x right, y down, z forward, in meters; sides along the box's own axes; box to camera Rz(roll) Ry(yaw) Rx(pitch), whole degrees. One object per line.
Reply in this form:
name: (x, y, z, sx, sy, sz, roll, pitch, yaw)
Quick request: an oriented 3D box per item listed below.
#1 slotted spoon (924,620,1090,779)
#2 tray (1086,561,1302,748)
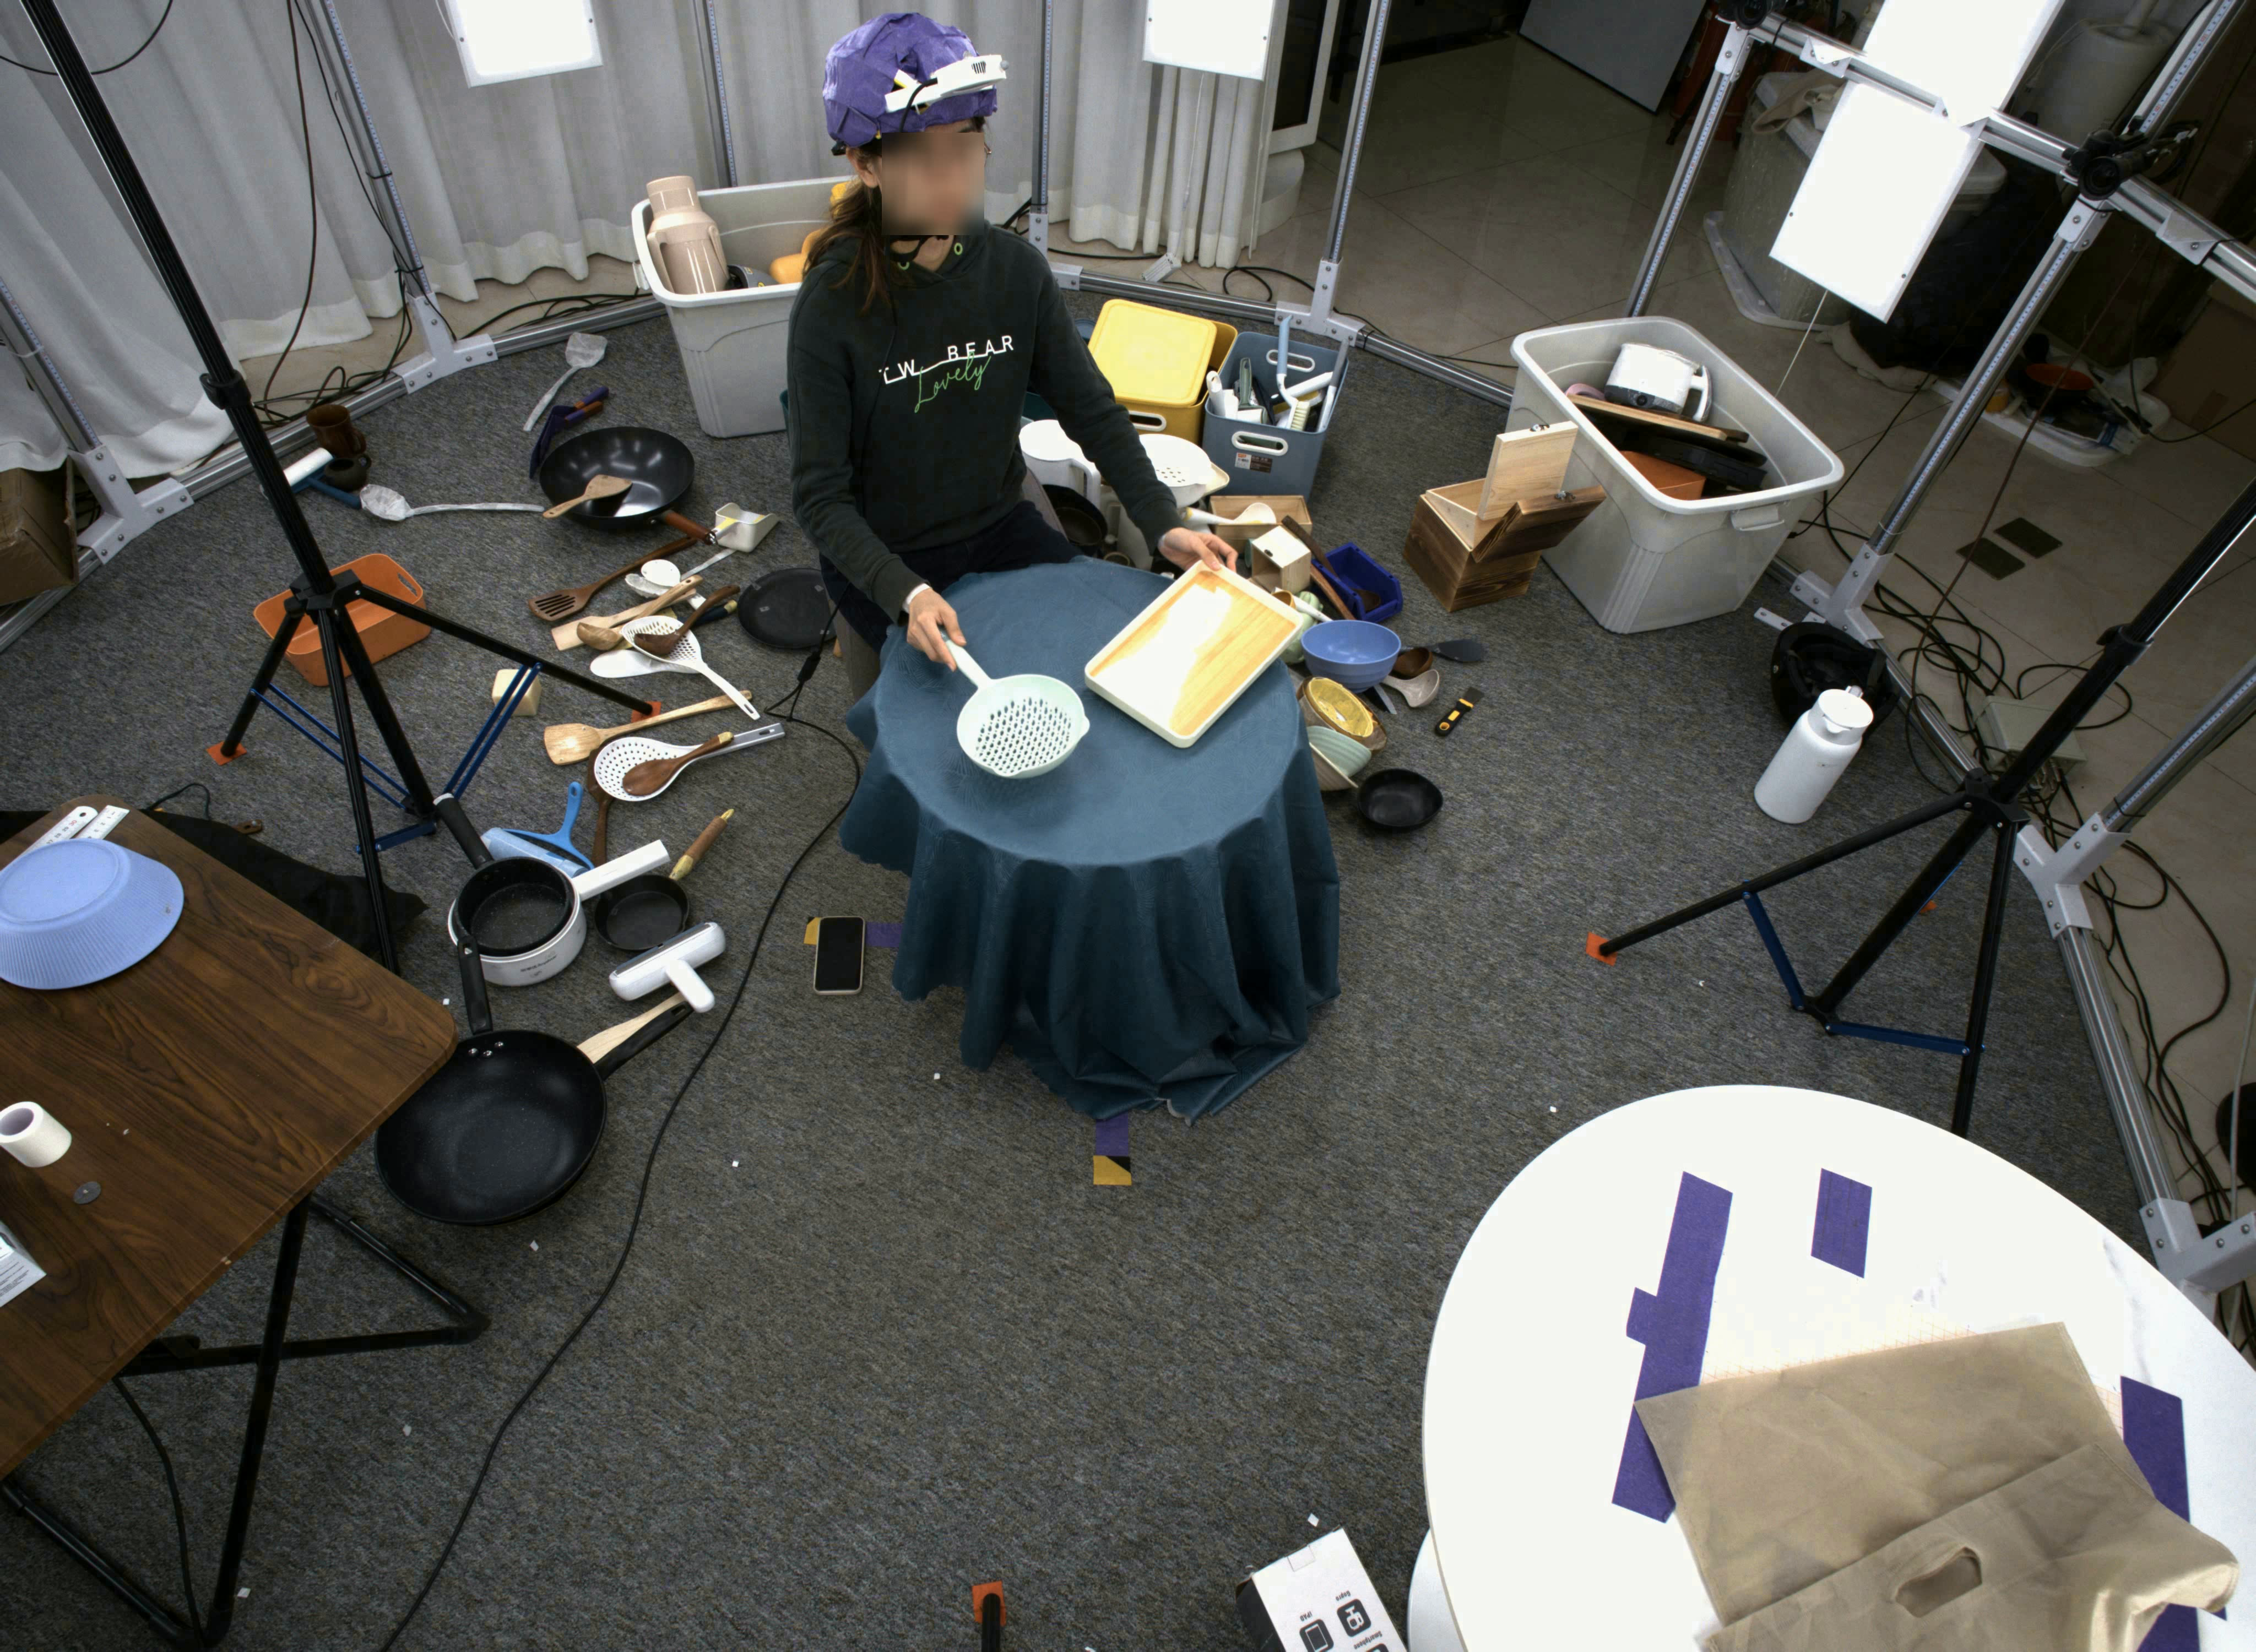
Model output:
slotted spoon: (-0.193, -0.190, 1.762, 0.170, 0.073, 0.365, -31, 60, -16)
tray: (0.098, -0.255, 1.868, 0.193, 0.027, 0.304, 34, 60, 18)
